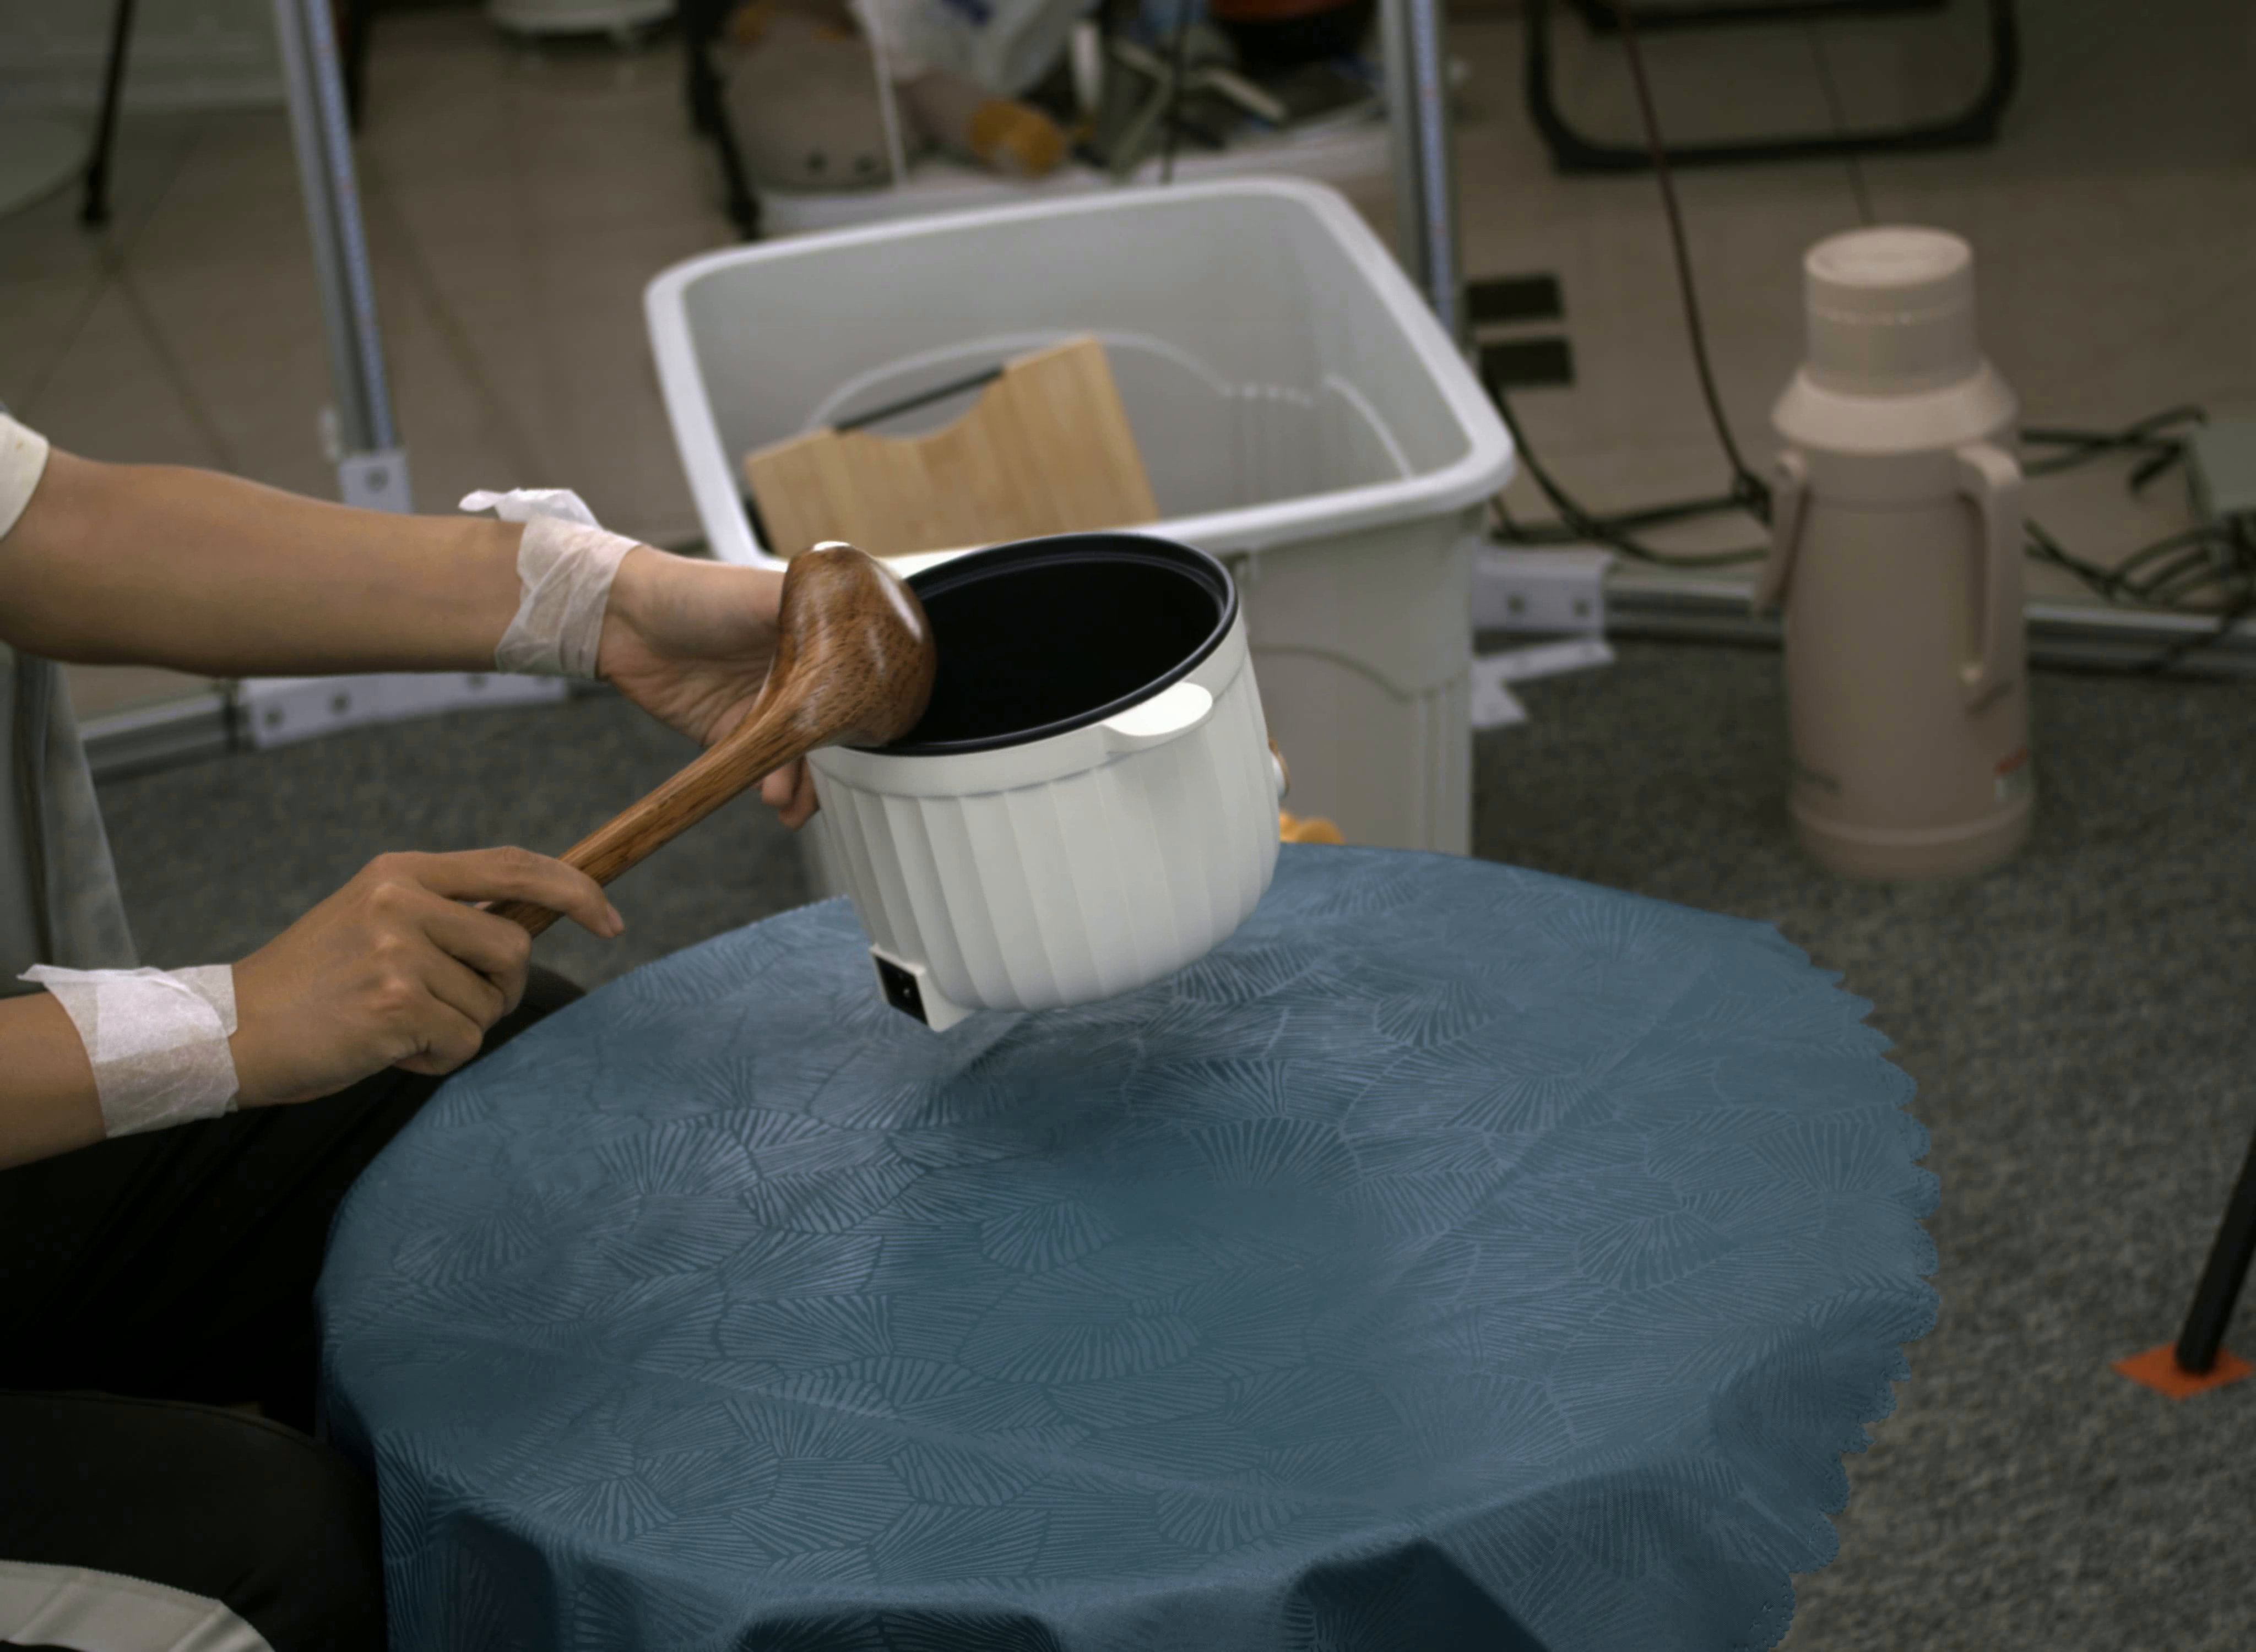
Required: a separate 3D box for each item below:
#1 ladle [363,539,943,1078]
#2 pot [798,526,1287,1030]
[{"bbox_3d":[-0.182,-0.006,2.121,0.273,0.082,0.076,-39,16,-8],"label":"ladle"},{"bbox_3d":[-0.029,-0.021,2.240,0.189,0.145,0.238,-32,33,-24],"label":"pot"}]
